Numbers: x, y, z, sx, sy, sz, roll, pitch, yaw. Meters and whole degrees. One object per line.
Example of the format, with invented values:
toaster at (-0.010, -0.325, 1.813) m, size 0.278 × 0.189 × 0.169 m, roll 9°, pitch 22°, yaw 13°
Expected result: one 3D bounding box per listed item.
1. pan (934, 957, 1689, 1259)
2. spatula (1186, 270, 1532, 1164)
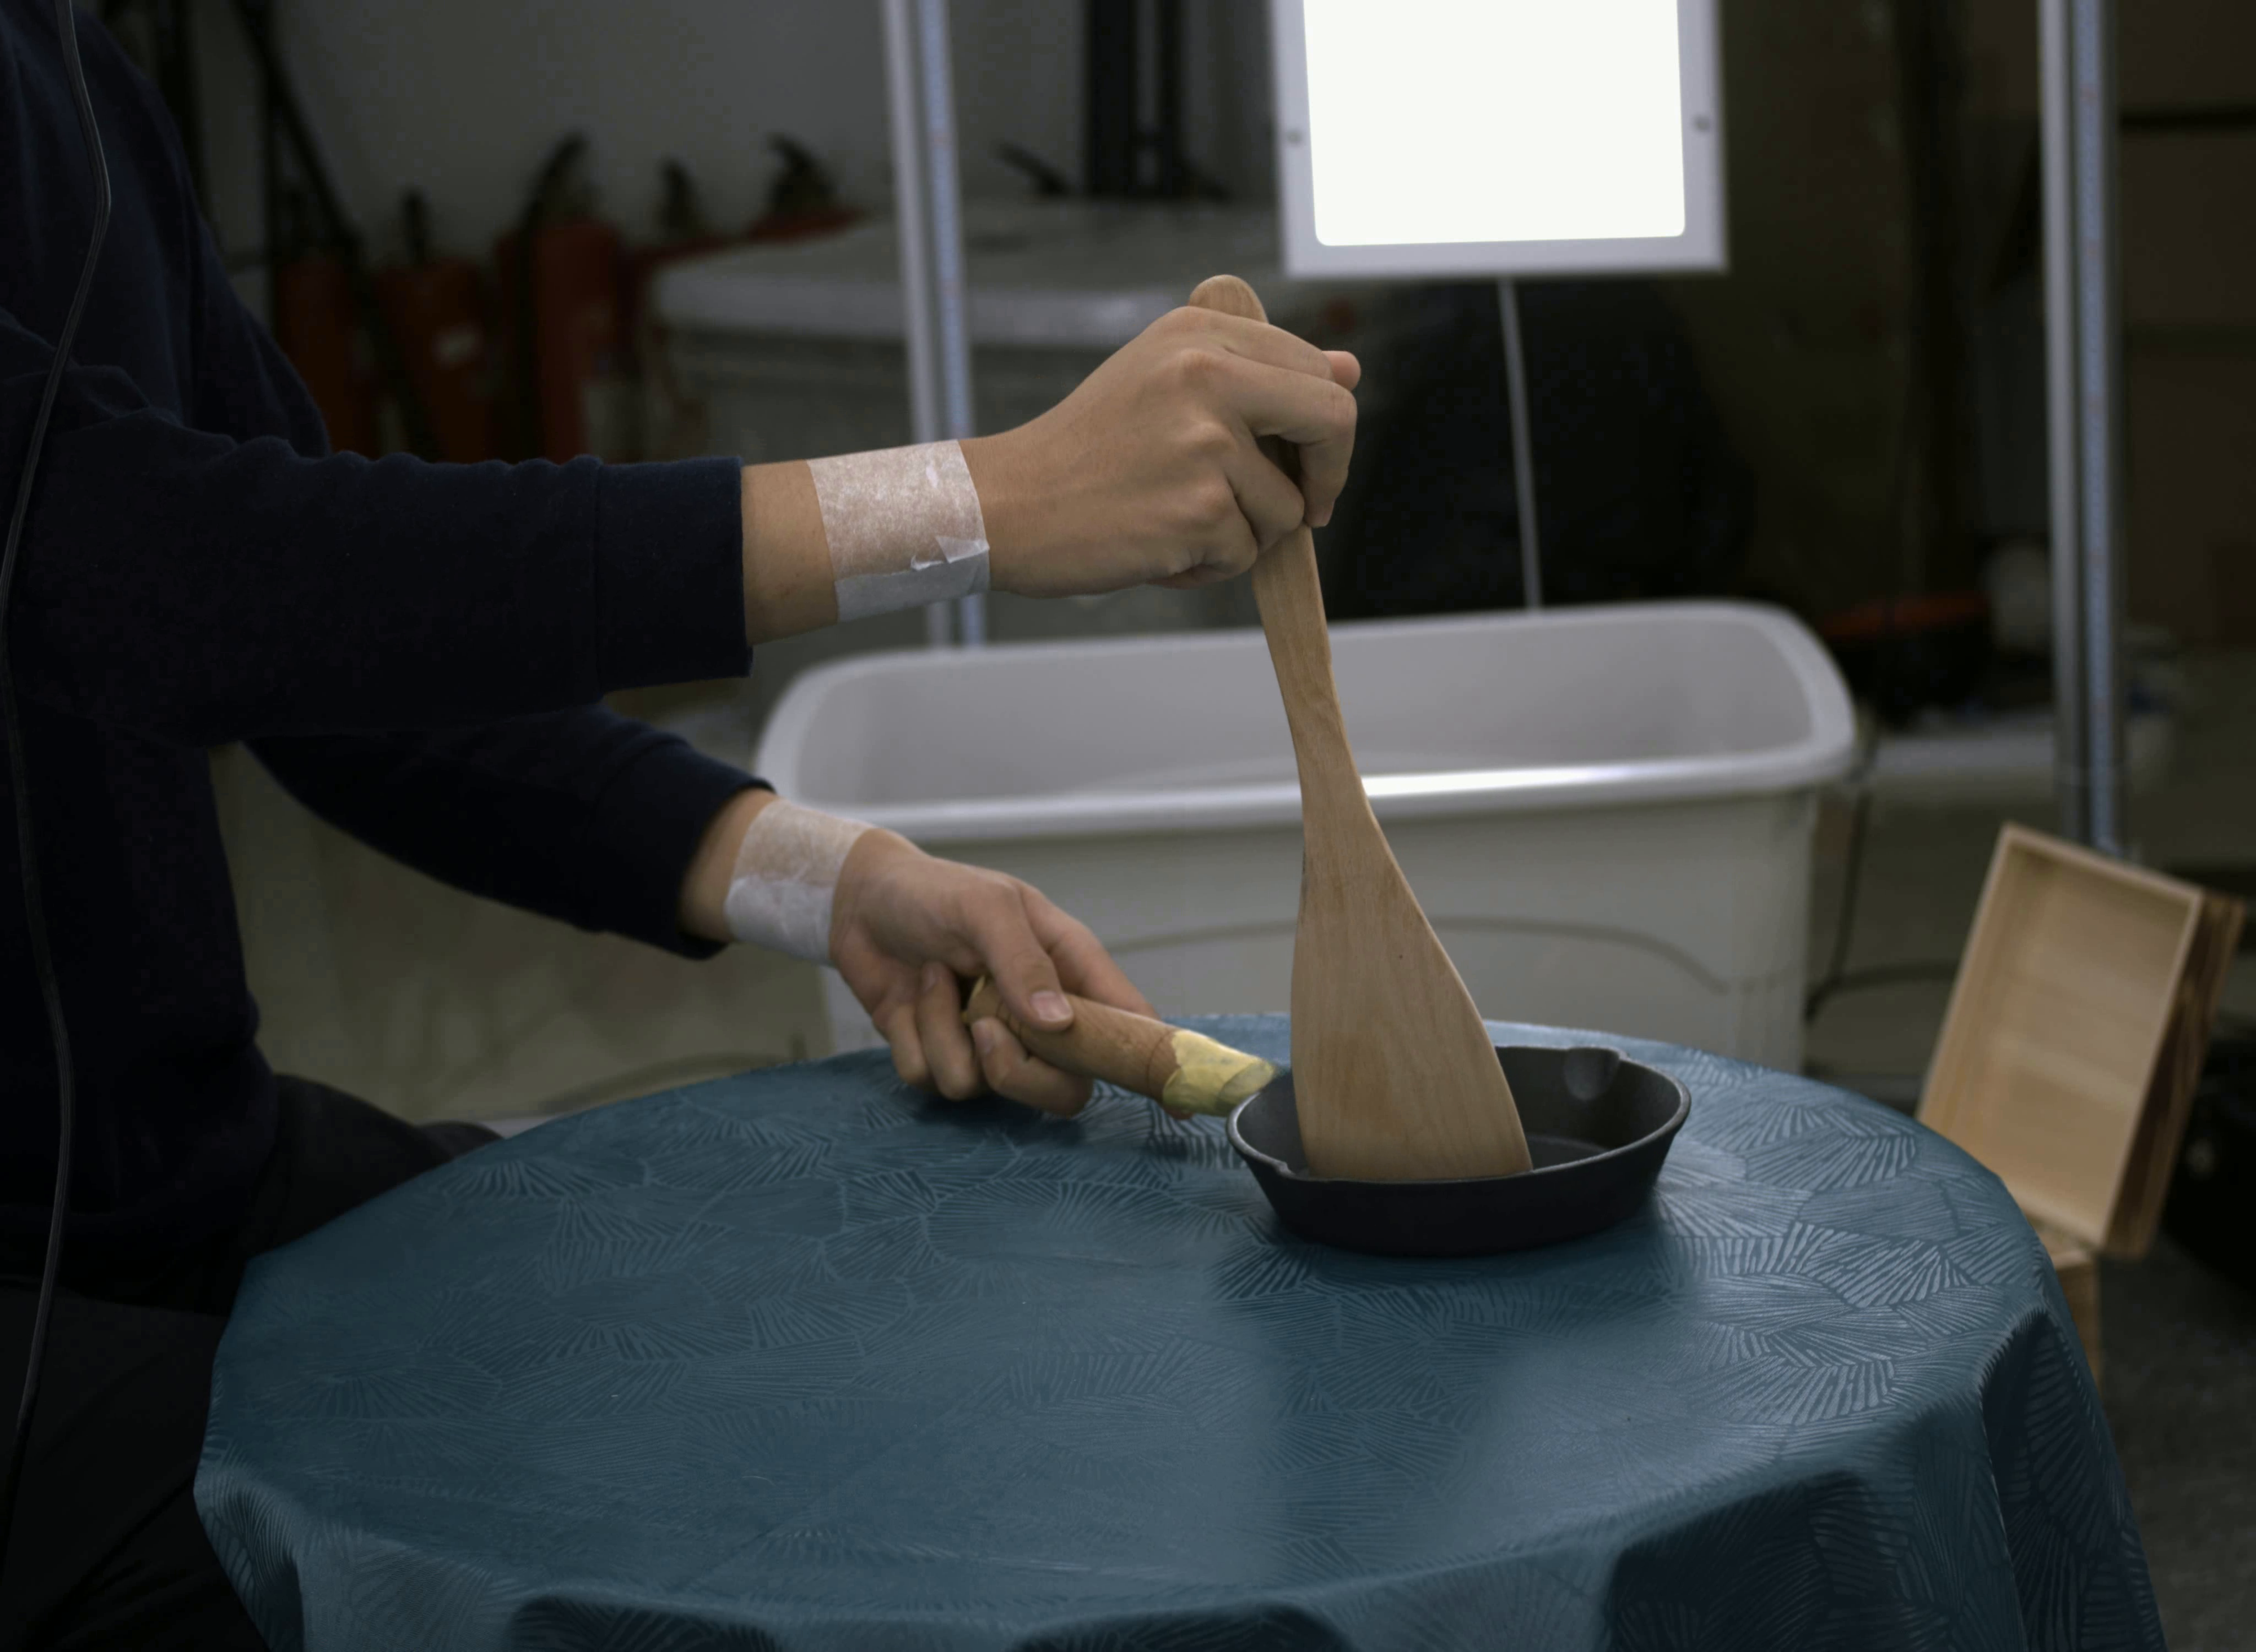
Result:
pan at (0.051, 0.092, 1.911) m, size 0.164 × 0.050 × 0.331 m, roll -18°, pitch 20°, yaw -41°
spatula at (0.065, -0.022, 1.806) m, size 0.081 × 0.328 × 0.016 m, roll -9°, pitch 10°, yaw 23°
